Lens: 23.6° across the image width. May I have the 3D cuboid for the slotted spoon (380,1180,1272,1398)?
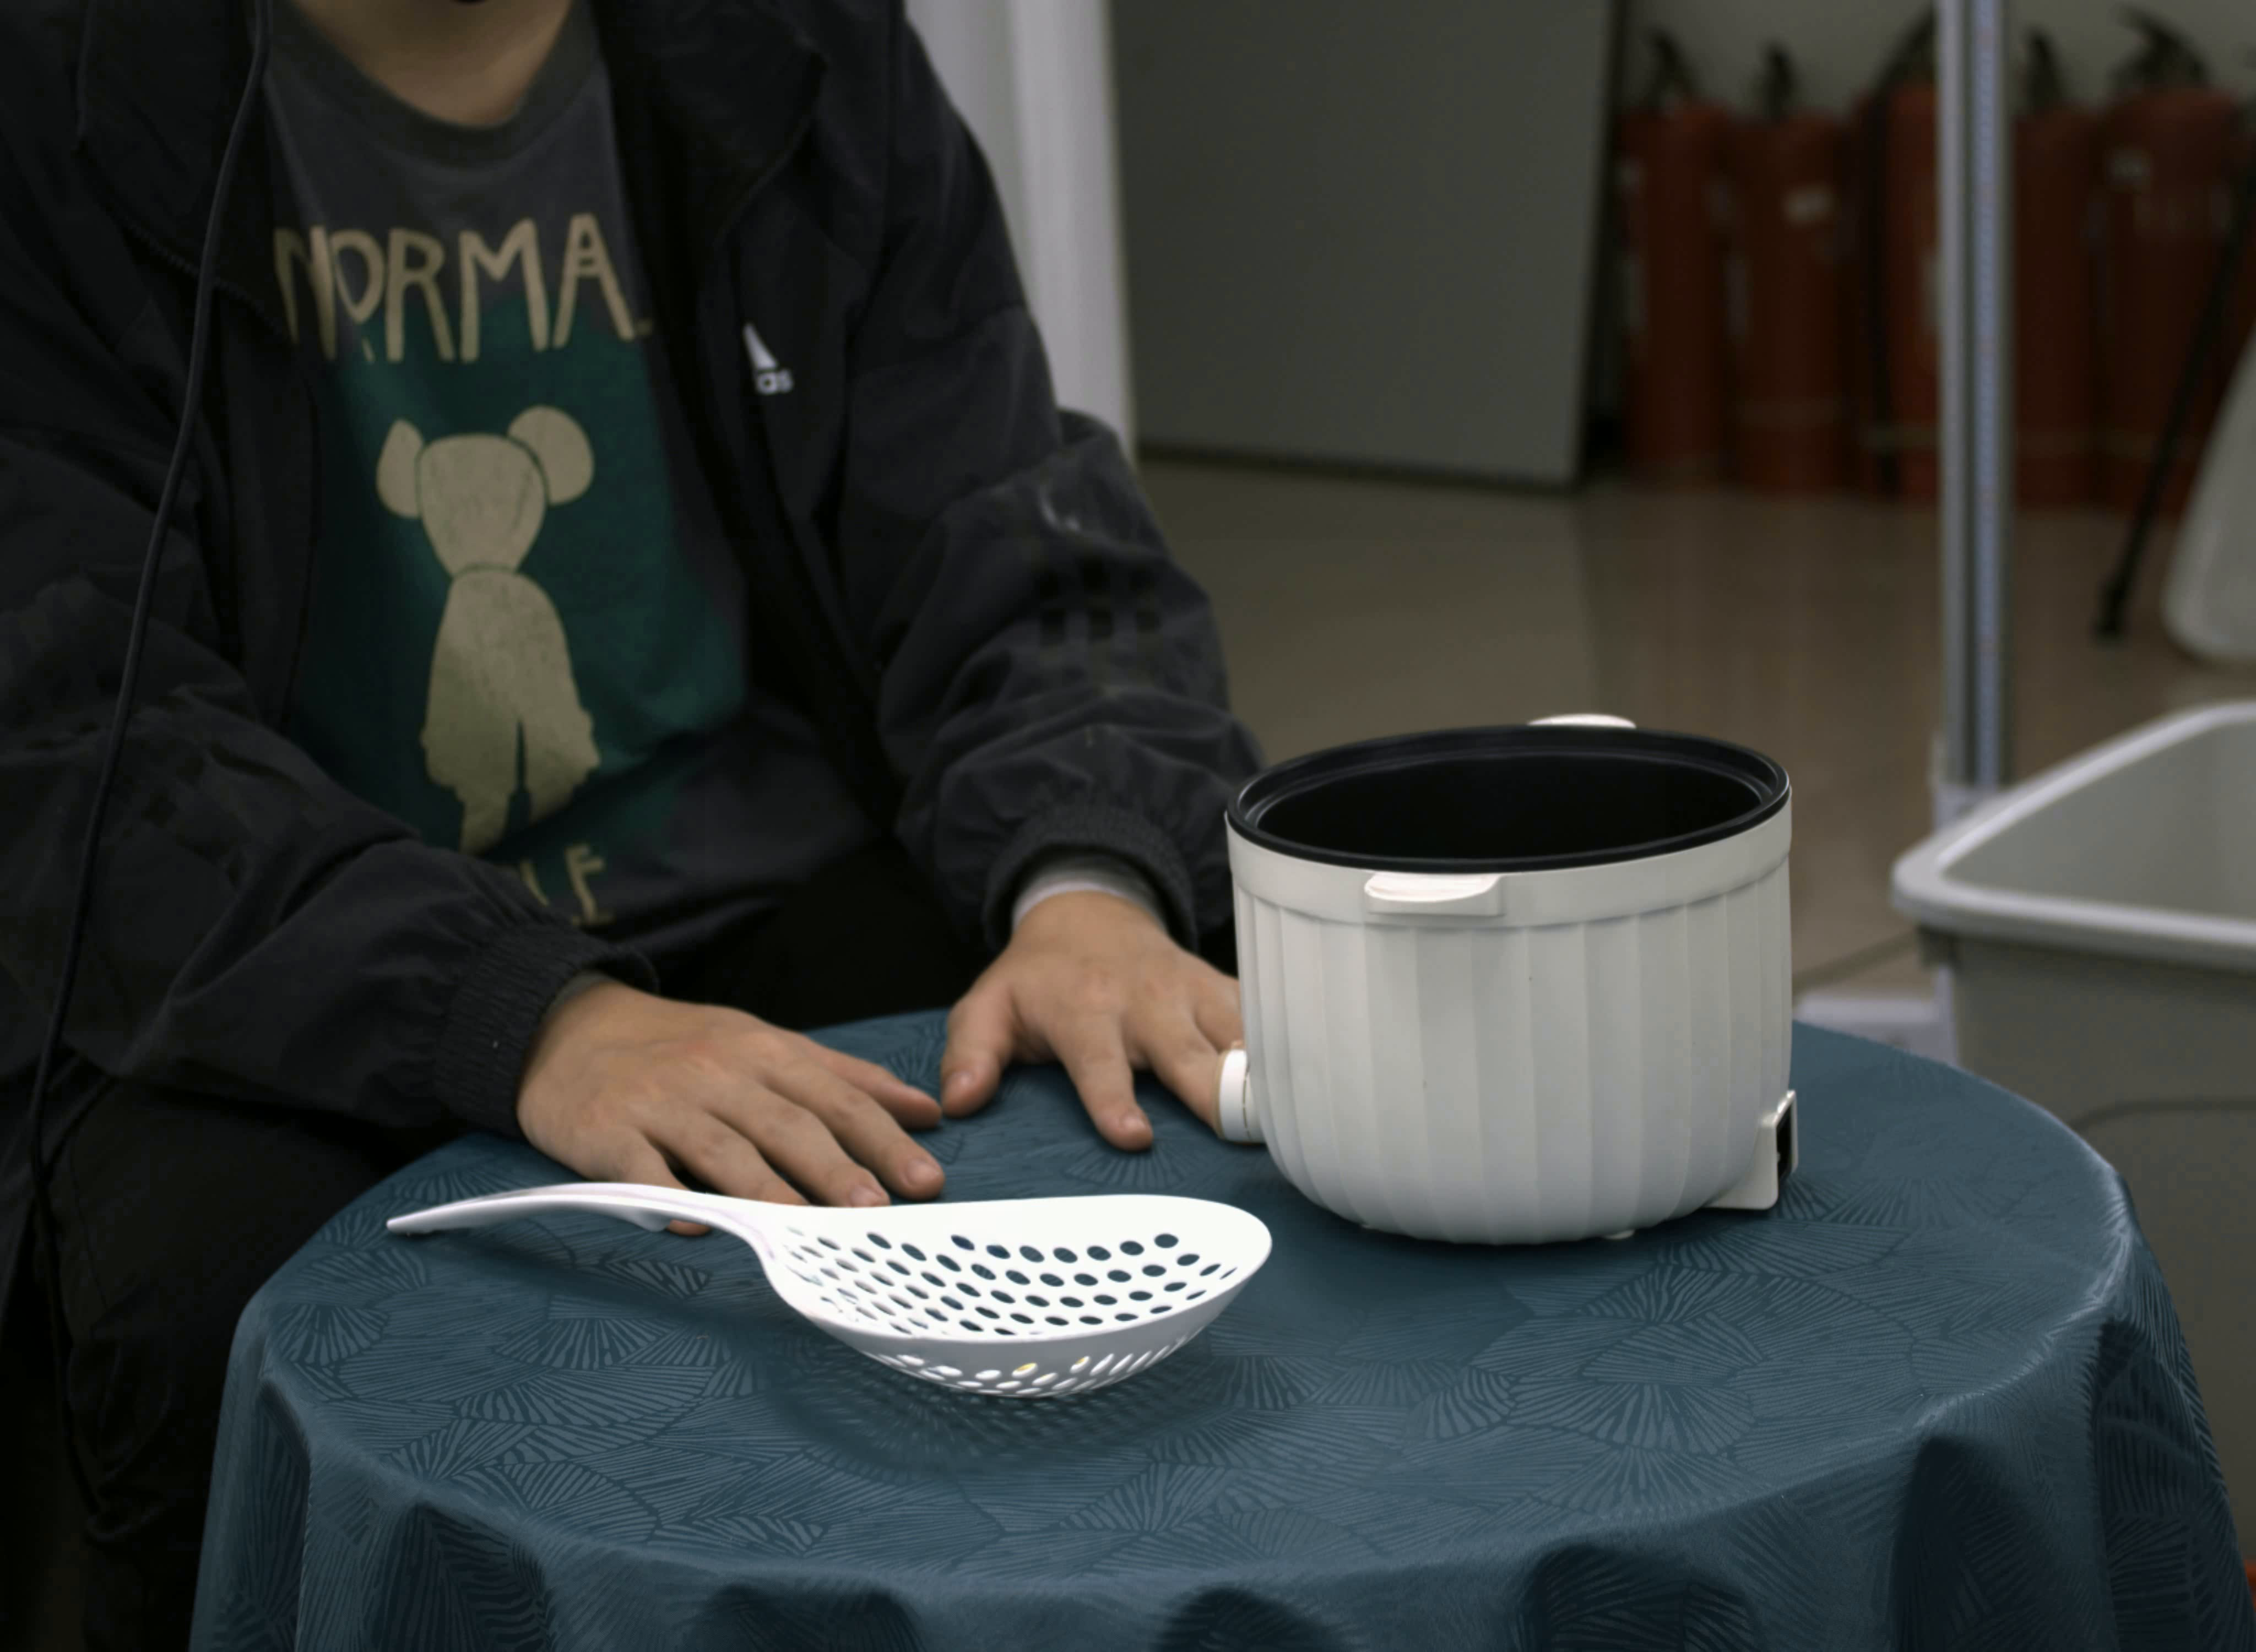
[{"bbox_3d":[-0.107,0.134,1.666,0.351,0.051,0.134,8,20,41],"label":"slotted spoon"}]

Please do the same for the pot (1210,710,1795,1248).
[{"bbox_3d":[0.119,0.052,1.729,0.190,0.144,0.238,3,14,17],"label":"pot"}]
